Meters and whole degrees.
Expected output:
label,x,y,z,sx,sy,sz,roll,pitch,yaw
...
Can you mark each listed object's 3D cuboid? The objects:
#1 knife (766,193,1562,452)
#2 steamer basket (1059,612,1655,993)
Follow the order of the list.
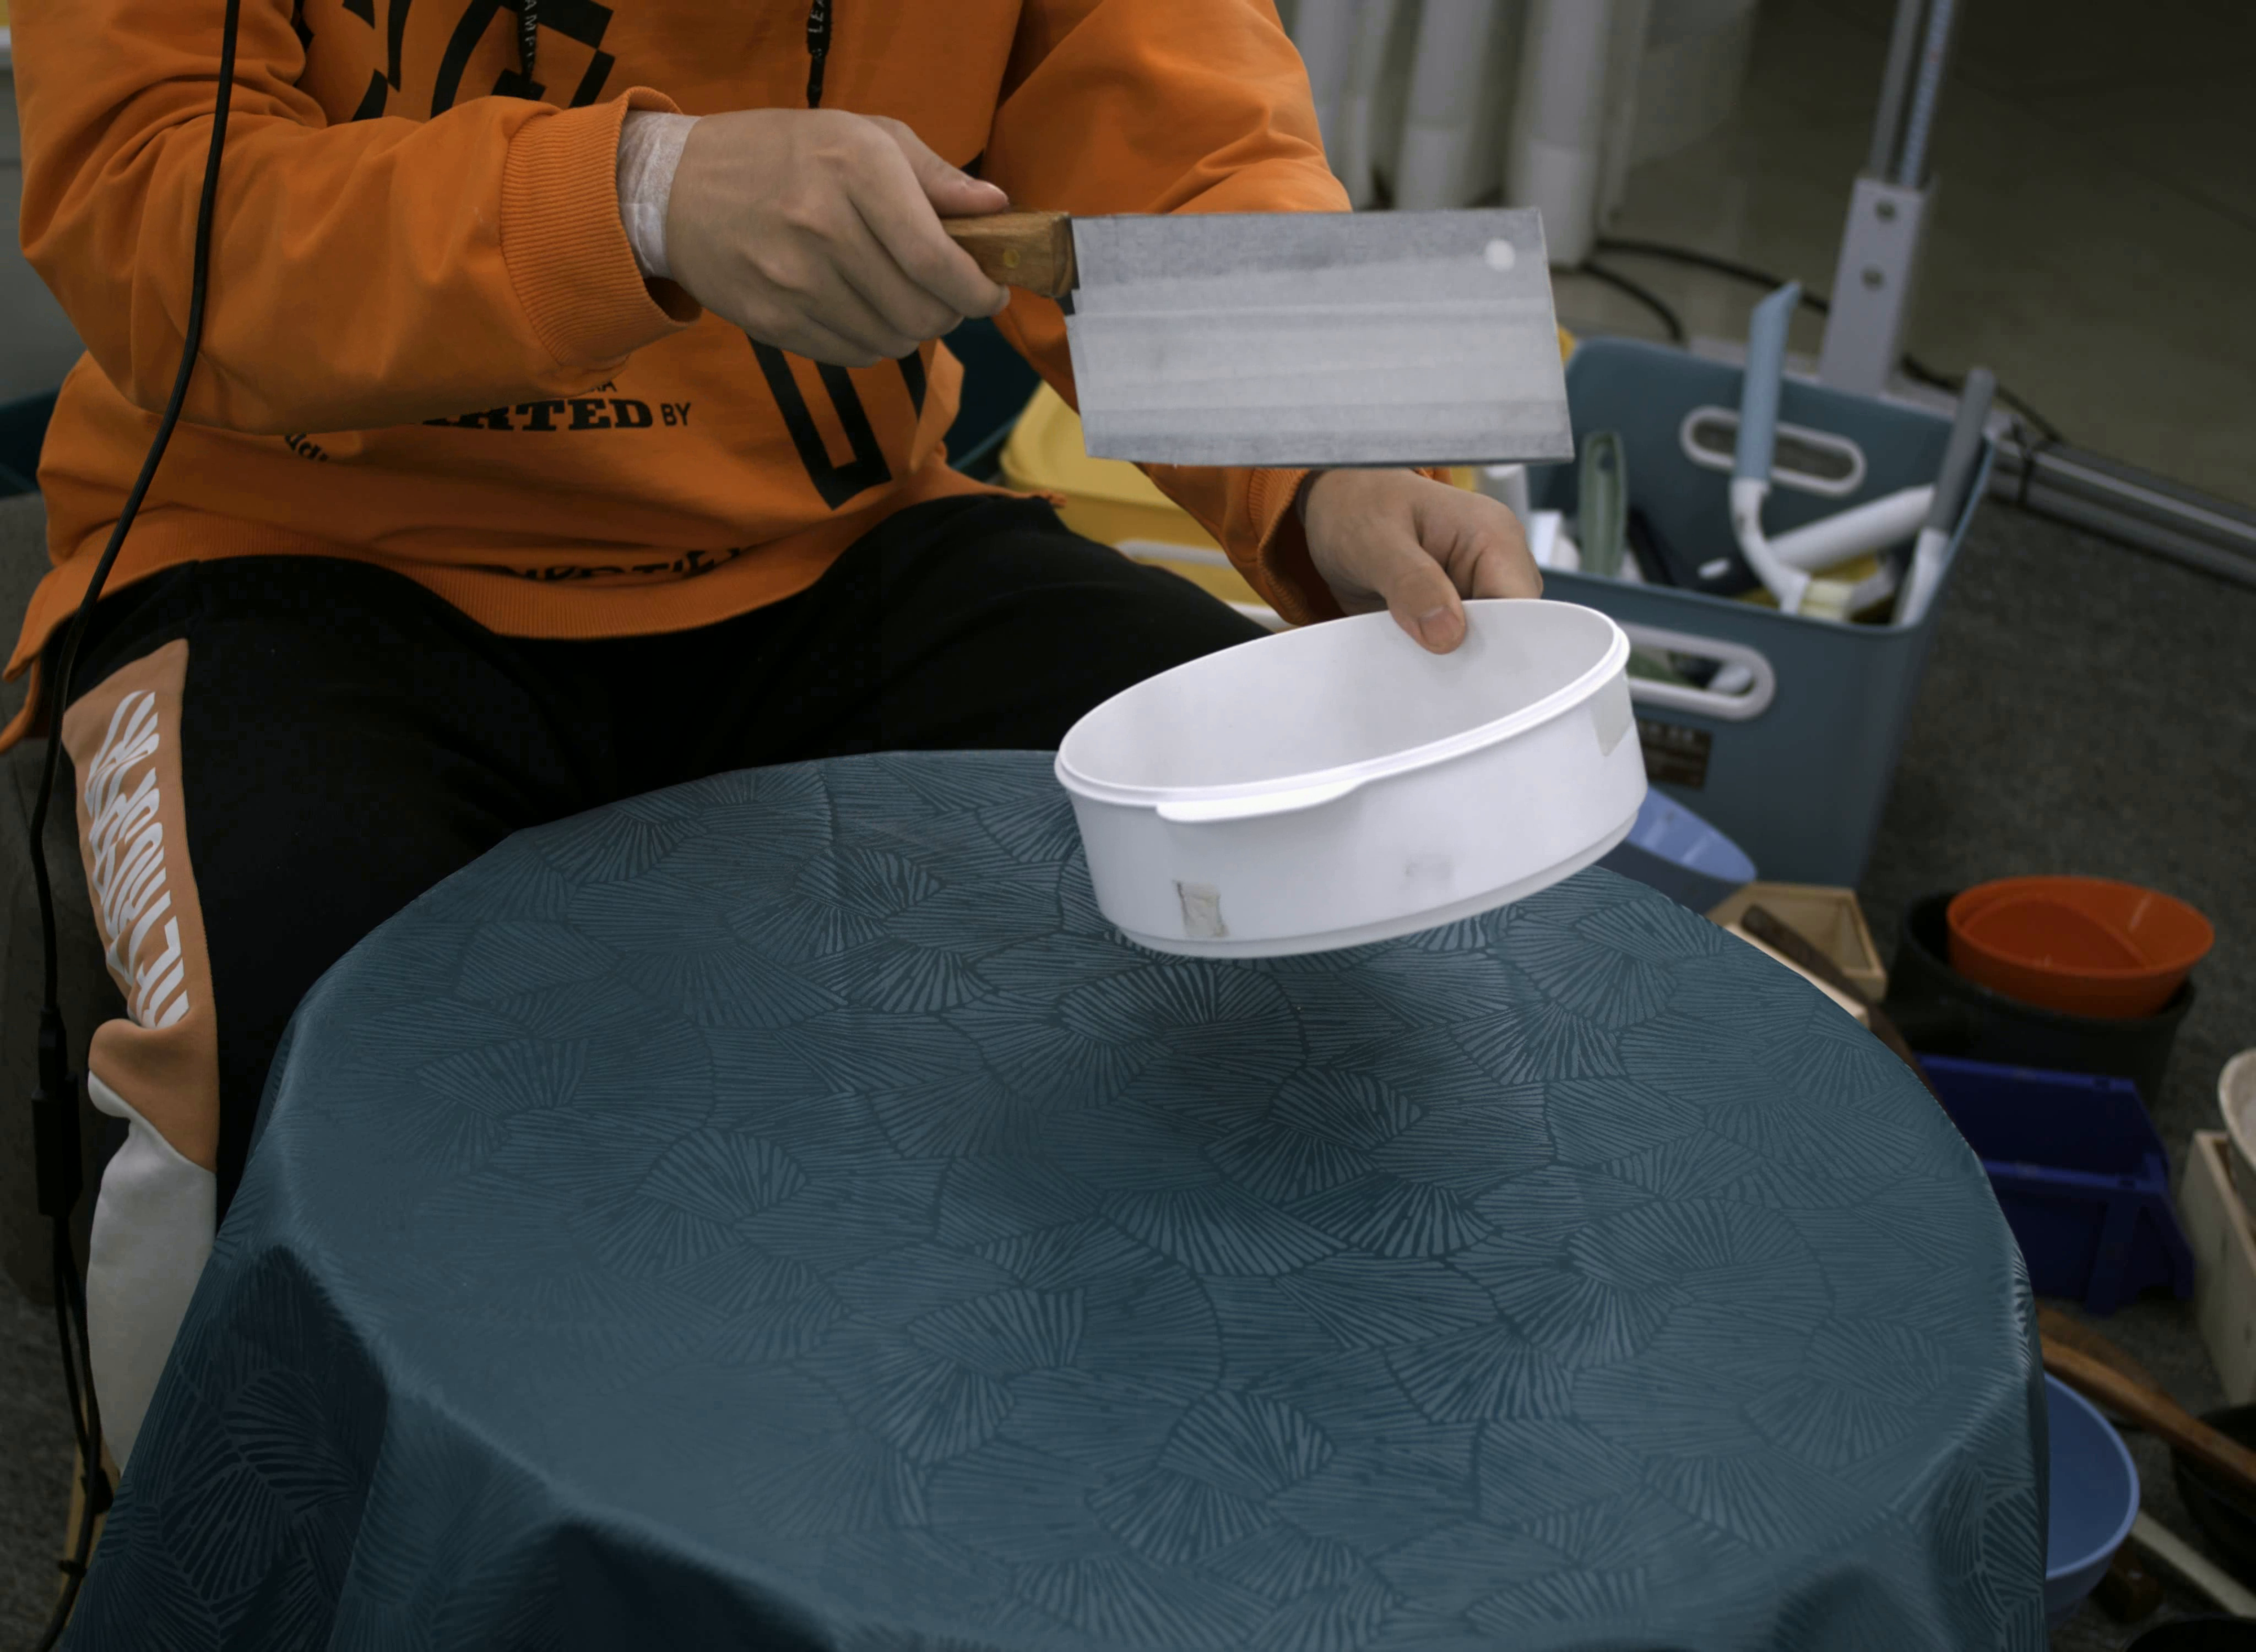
label,x,y,z,sx,sy,sz,roll,pitch,yaw
knife,0.010,-0.173,1.843,0.307,0.092,0.021,2,25,31
steamer basket,0.081,-0.007,1.817,0.202,0.069,0.231,-5,20,20
